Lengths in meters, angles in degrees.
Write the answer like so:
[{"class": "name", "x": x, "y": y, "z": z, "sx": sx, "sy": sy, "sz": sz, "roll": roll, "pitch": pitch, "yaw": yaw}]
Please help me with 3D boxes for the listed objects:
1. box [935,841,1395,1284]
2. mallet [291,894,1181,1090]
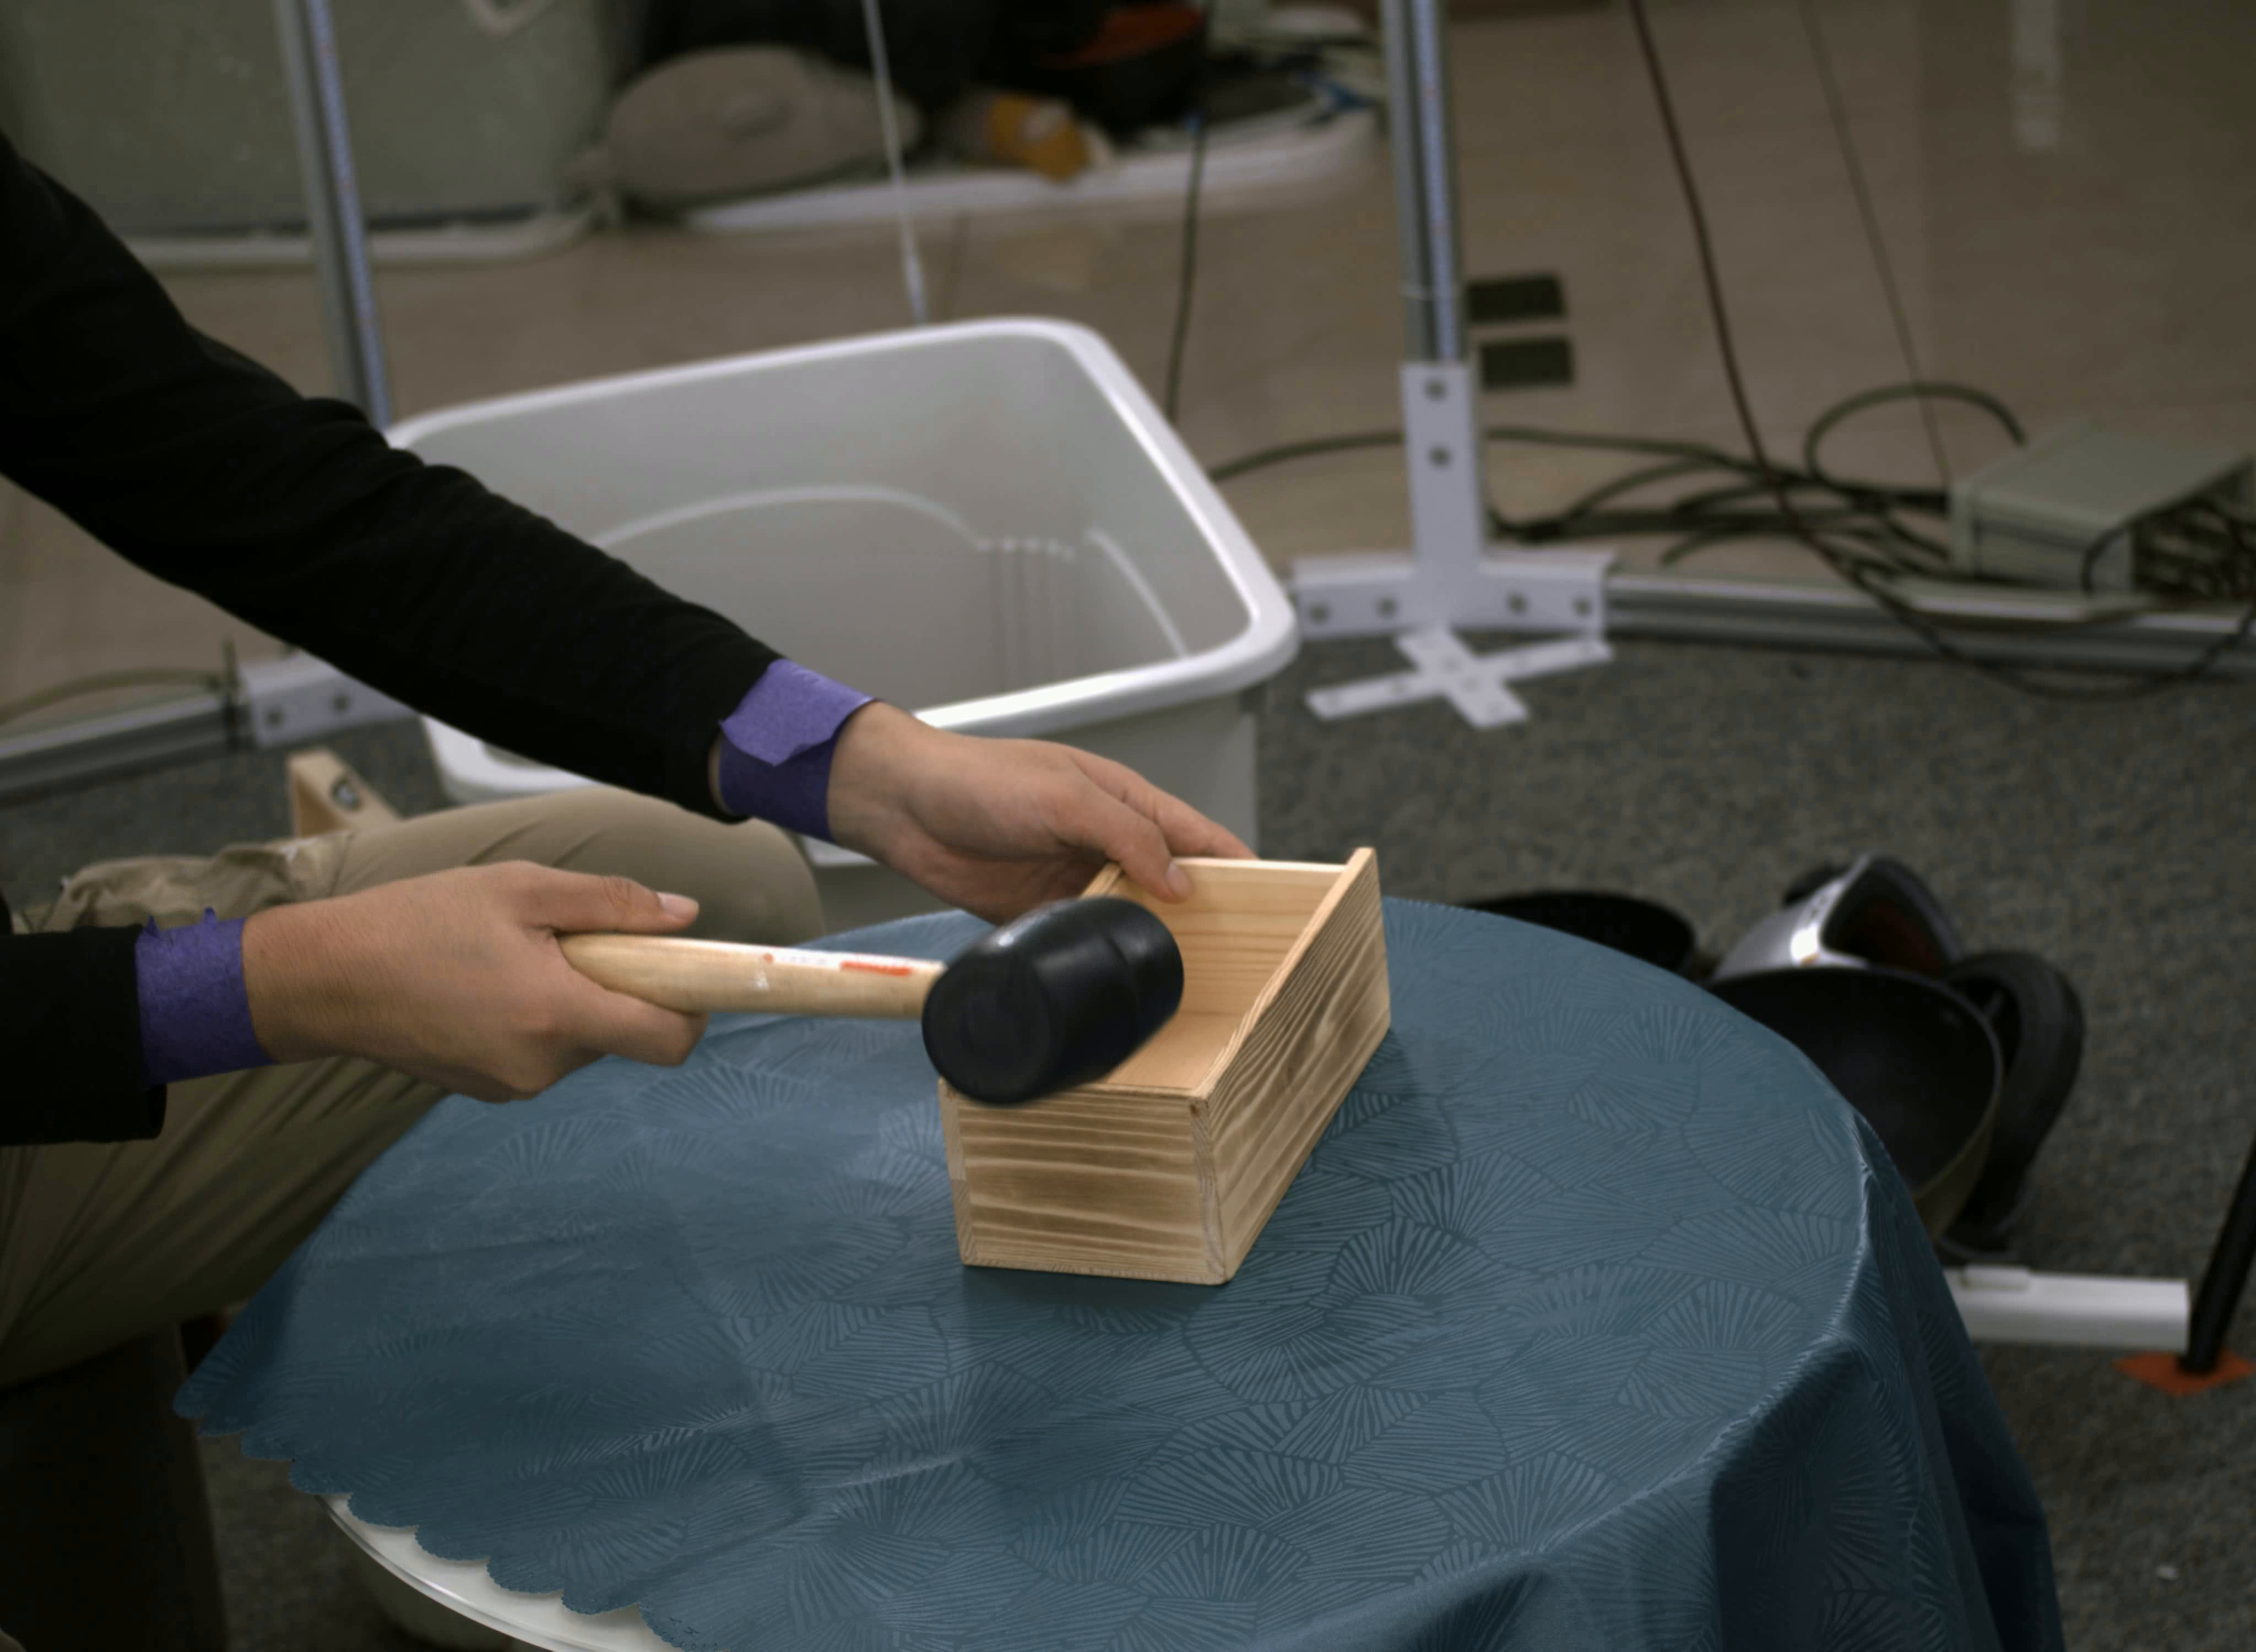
[{"class": "box", "x": 0.018, "y": 0.087, "z": 2.162, "sx": 0.107, "sy": 0.081, "sz": 0.208, "roll": 3, "pitch": 27, "yaw": 20}, {"class": "mallet", "x": -0.150, "y": 0.044, "z": 2.014, "sx": 0.338, "sy": 0.065, "sz": 0.101, "roll": 6, "pitch": 8, "yaw": 26}]
